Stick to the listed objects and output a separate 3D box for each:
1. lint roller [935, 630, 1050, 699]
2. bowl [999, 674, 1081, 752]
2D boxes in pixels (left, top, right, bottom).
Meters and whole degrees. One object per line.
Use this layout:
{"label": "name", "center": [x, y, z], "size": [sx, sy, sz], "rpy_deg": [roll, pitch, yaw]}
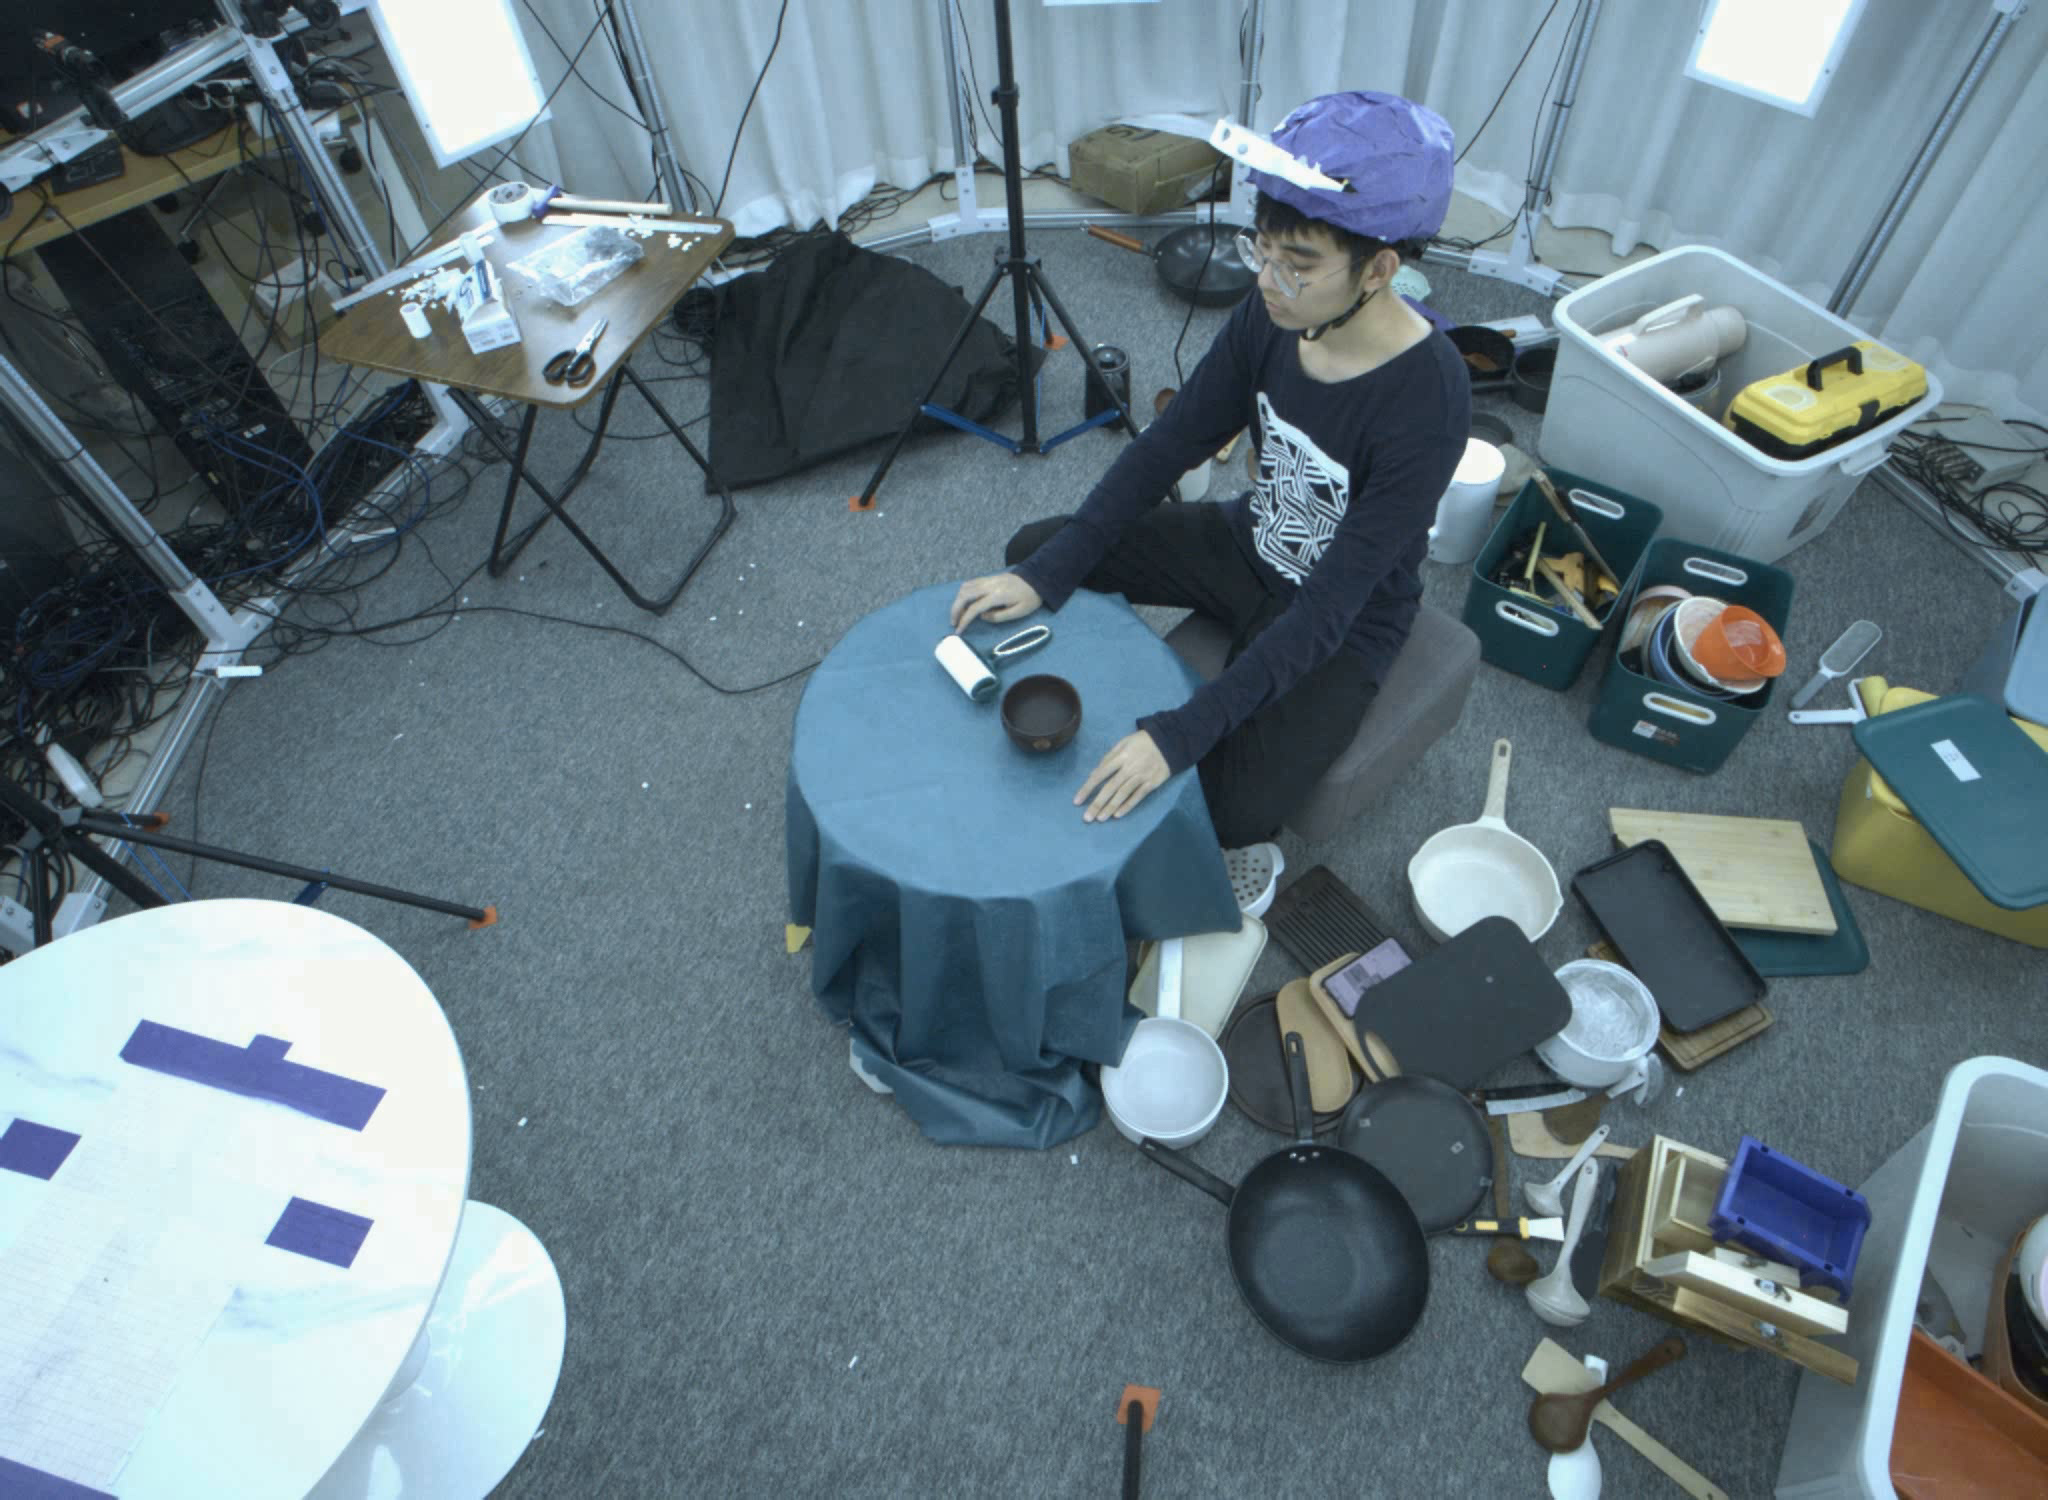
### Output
{"label": "lint roller", "center": [-0.035, -0.155, 1.883], "size": [0.182, 0.049, 0.132], "rpy_deg": [-29, 58, -22]}
{"label": "bowl", "center": [0.024, -0.046, 1.783], "size": [0.118, 0.070, 0.117], "rpy_deg": [0, 51, 1]}
